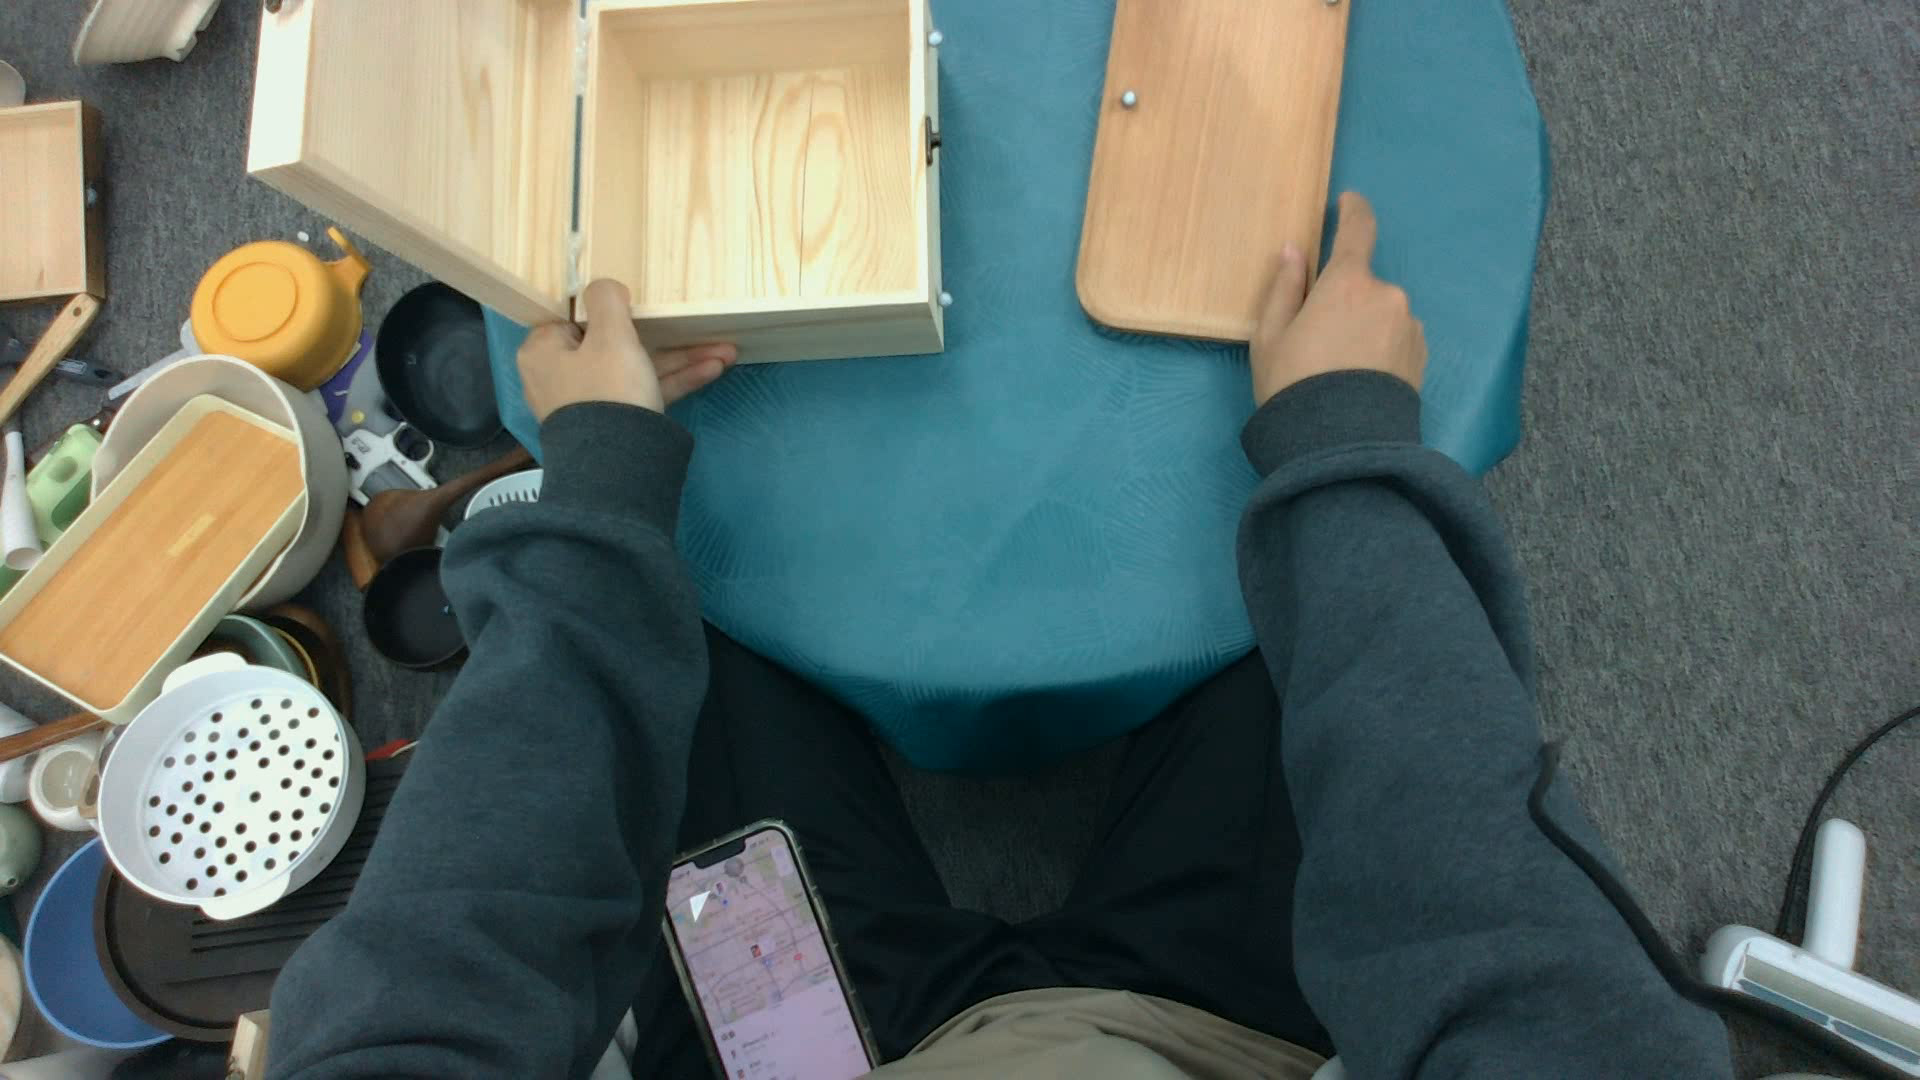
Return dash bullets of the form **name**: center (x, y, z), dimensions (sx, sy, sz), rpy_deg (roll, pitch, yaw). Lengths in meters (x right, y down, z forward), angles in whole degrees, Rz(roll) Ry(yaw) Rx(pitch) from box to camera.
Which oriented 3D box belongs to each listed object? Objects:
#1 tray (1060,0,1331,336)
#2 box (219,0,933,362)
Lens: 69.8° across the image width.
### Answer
- **tray**: center (0.132, -0.233, 0.761), dimensions (0.130, 0.023, 0.251), rpy_deg (7, 79, 11)
- **box**: center (-0.154, -0.211, 0.664), dimensions (0.265, 0.253, 0.182), rpy_deg (-4, 80, 5)
